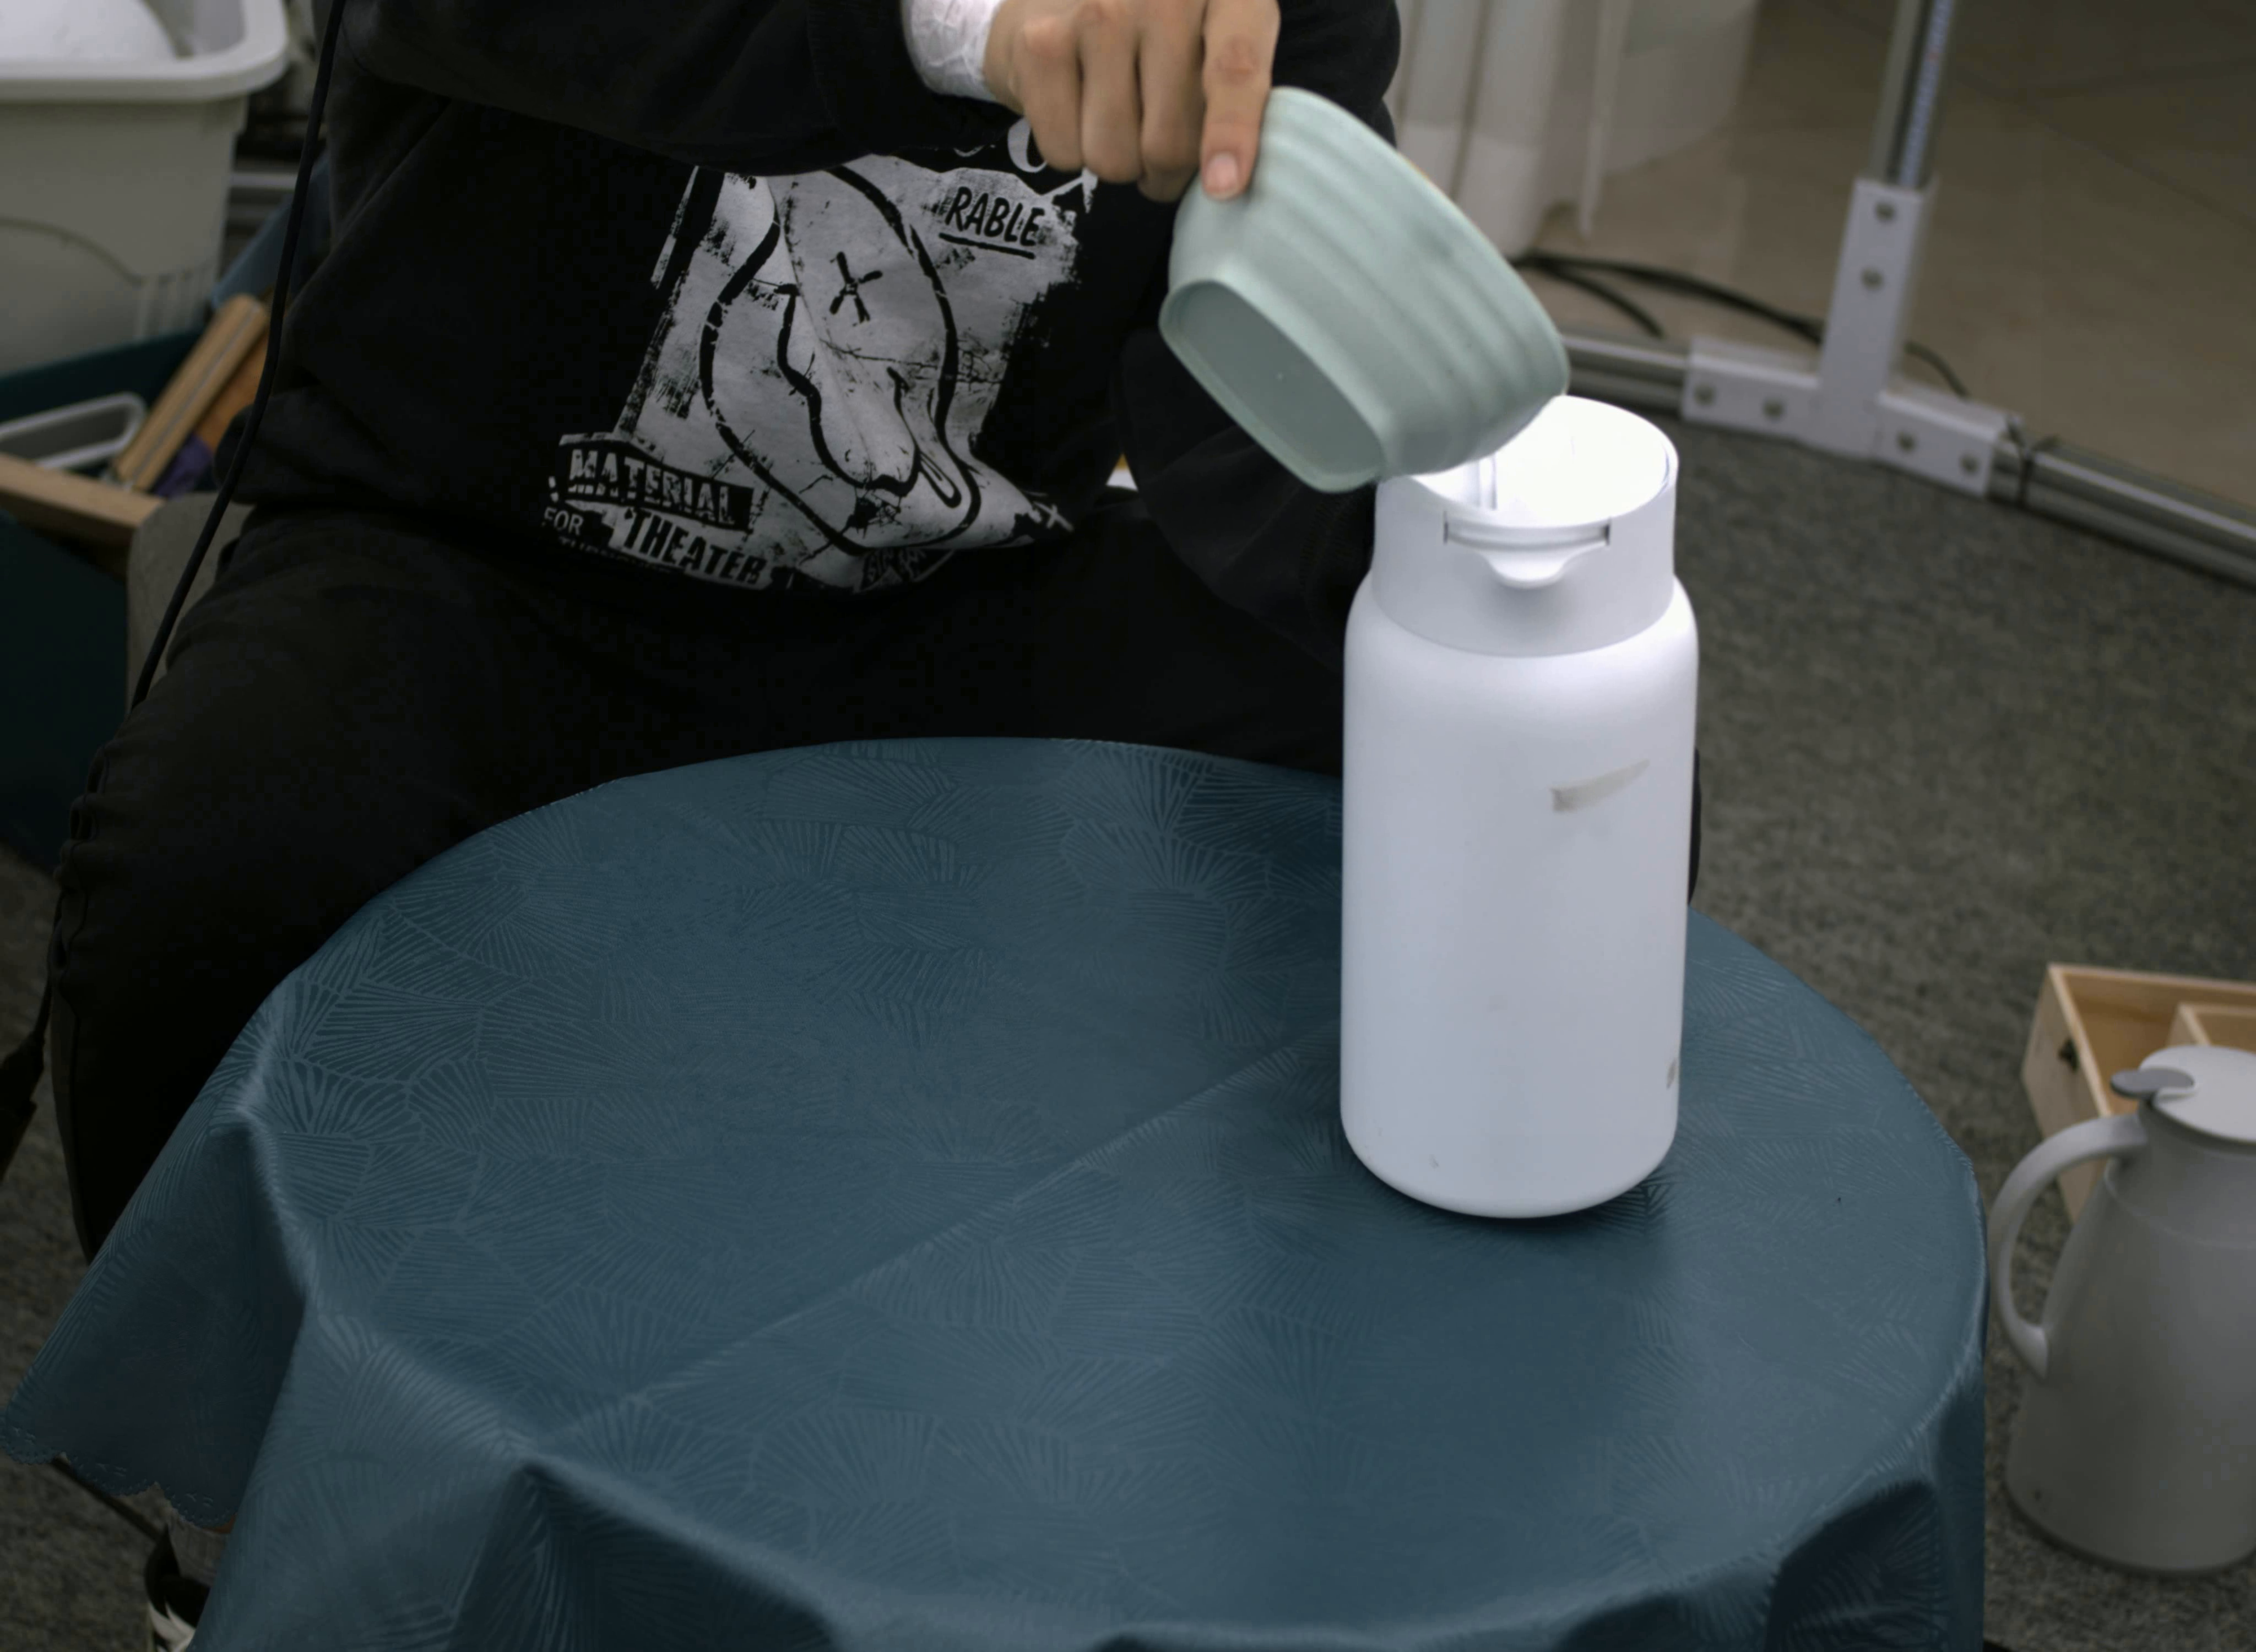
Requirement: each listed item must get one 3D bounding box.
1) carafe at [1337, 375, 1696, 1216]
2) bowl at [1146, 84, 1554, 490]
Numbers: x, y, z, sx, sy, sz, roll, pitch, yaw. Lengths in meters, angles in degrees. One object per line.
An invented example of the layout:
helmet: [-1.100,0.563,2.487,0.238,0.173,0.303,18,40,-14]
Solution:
carafe: [0.129,-0.016,1.802,0.123,0.267,0.174,-2,30,3]
bowl: [0.058,-0.155,1.646,0.152,0.150,0.058,30,69,37]
